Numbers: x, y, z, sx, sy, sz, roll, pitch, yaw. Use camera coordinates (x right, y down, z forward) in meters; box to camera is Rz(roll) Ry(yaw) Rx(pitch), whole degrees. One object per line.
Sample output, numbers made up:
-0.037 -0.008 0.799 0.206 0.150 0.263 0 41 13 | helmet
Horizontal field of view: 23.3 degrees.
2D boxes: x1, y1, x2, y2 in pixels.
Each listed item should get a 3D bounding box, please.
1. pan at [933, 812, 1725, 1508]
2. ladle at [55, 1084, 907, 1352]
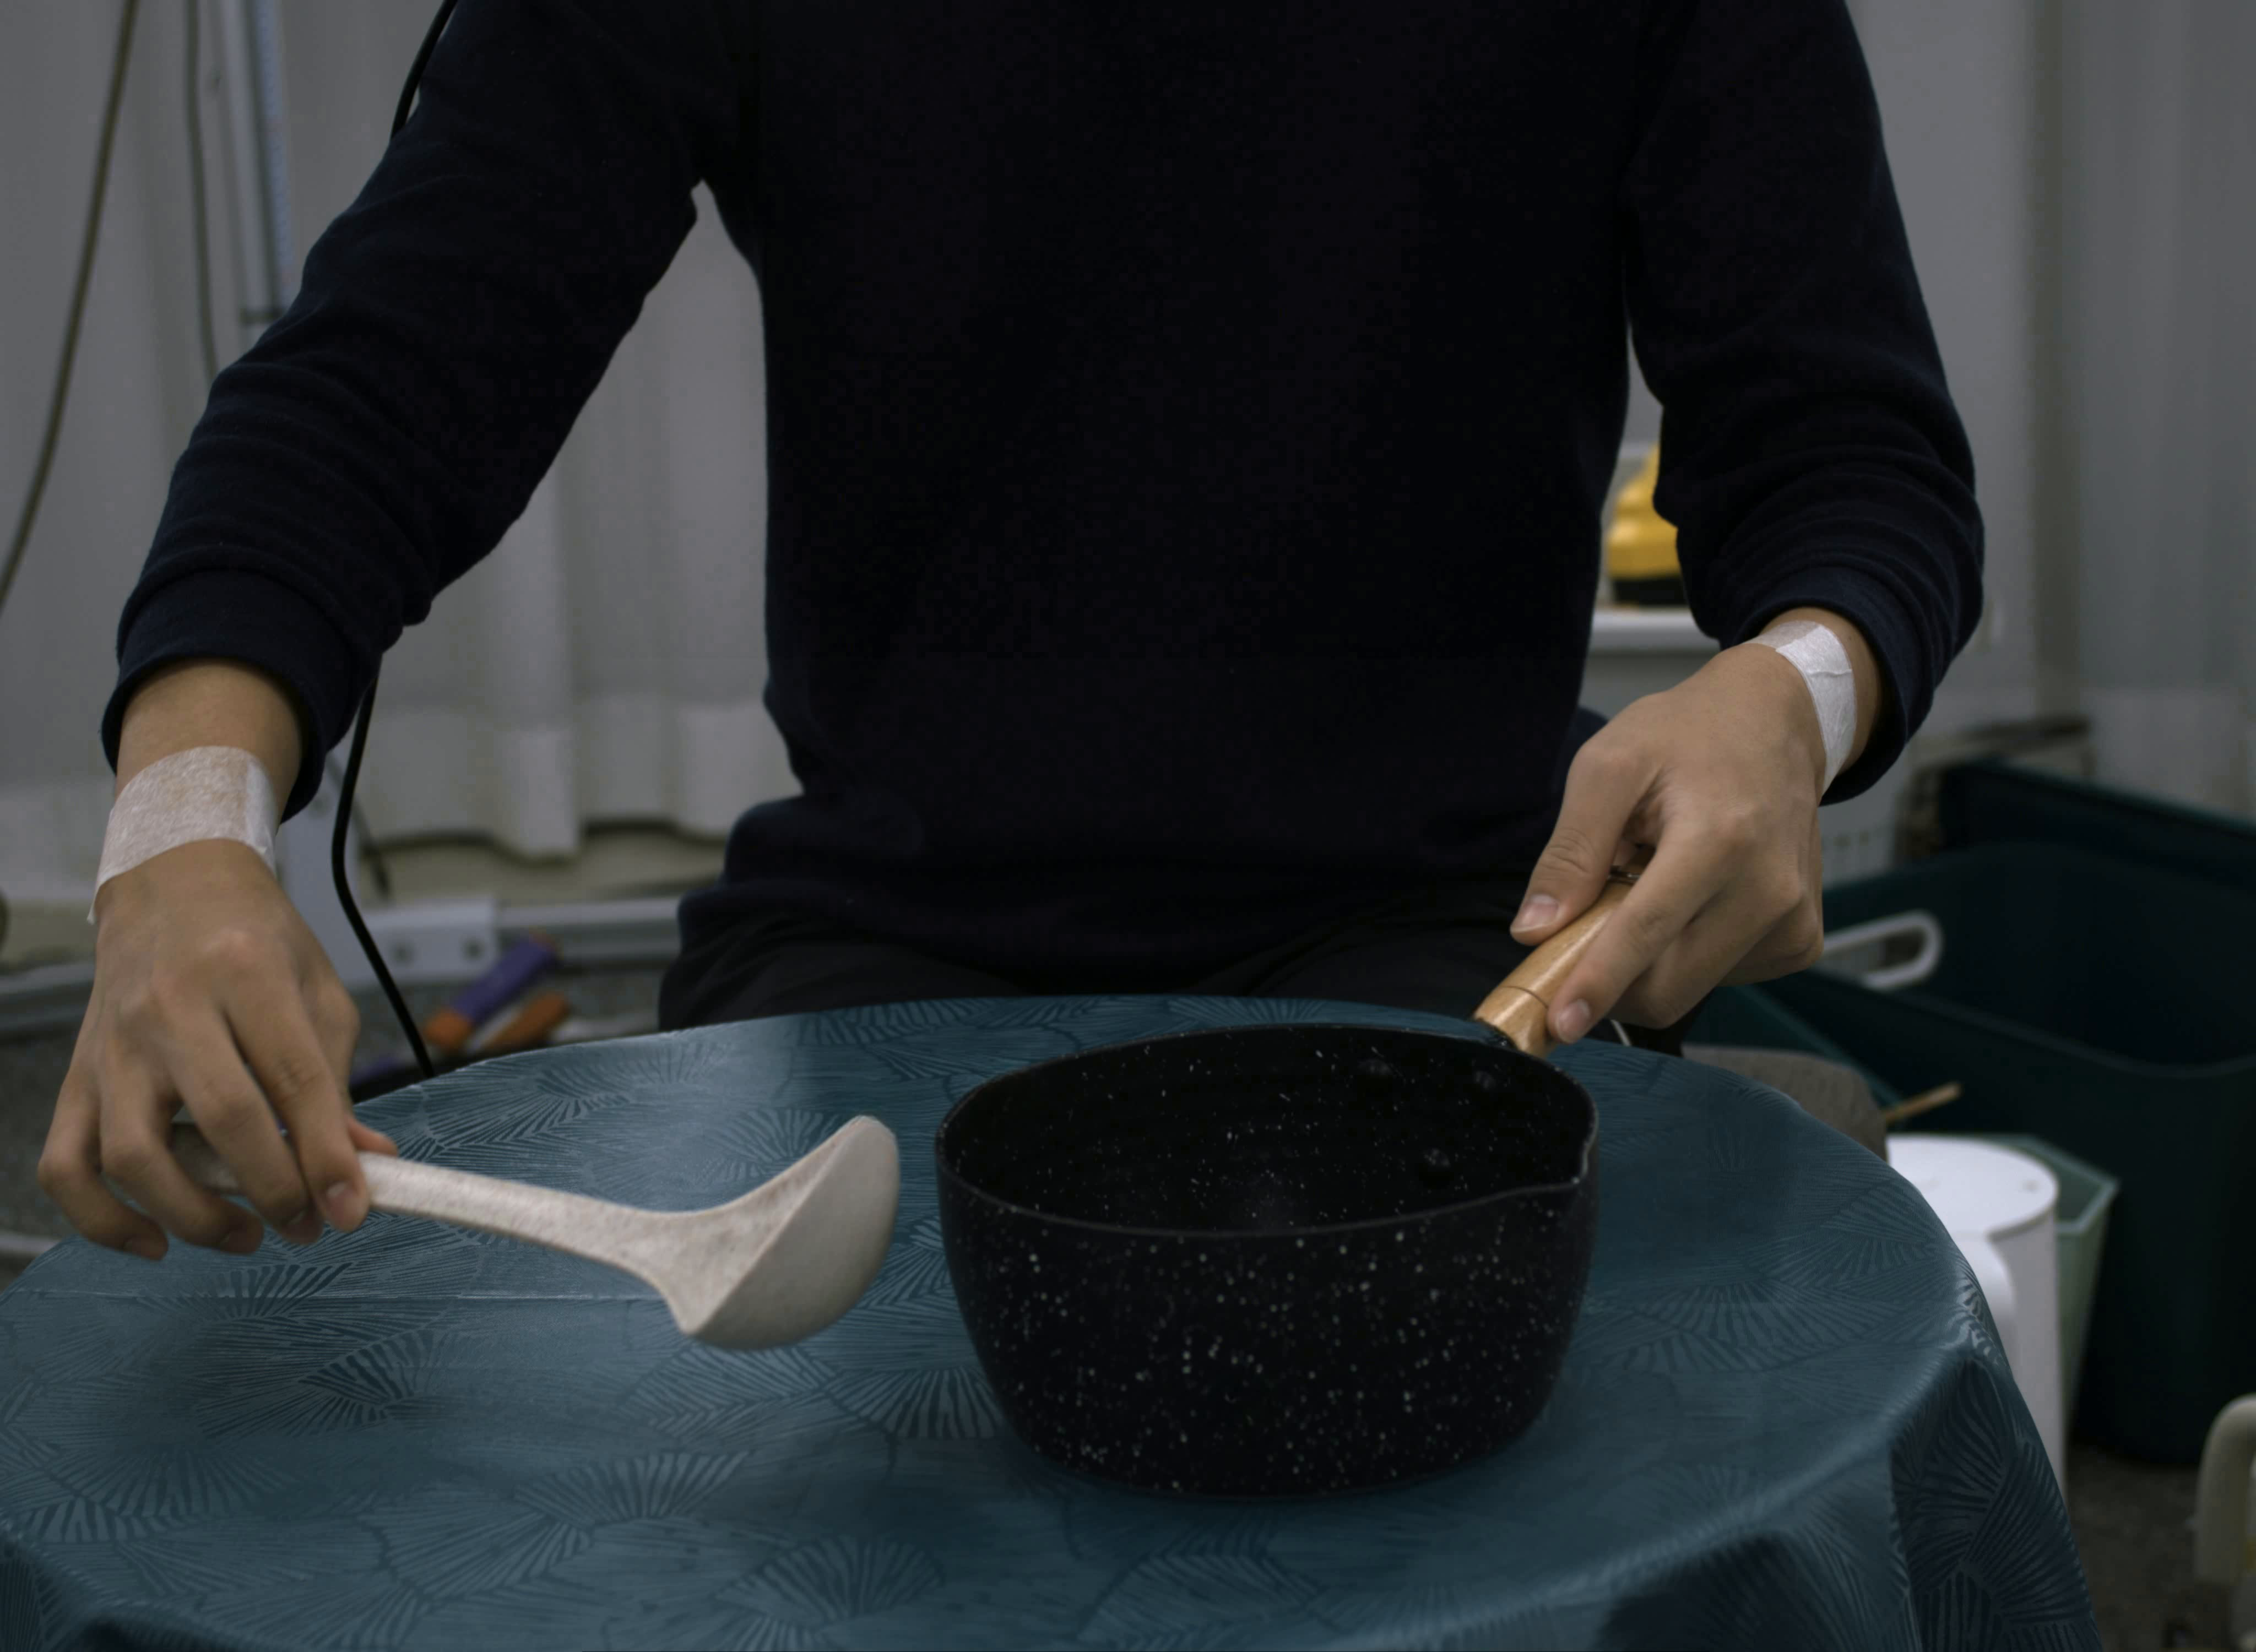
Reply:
0.083 0.091 1.579 0.208 0.108 0.343 5 18 33 | pan
-0.189 0.088 1.517 0.275 0.068 0.090 10 44 23 | ladle
